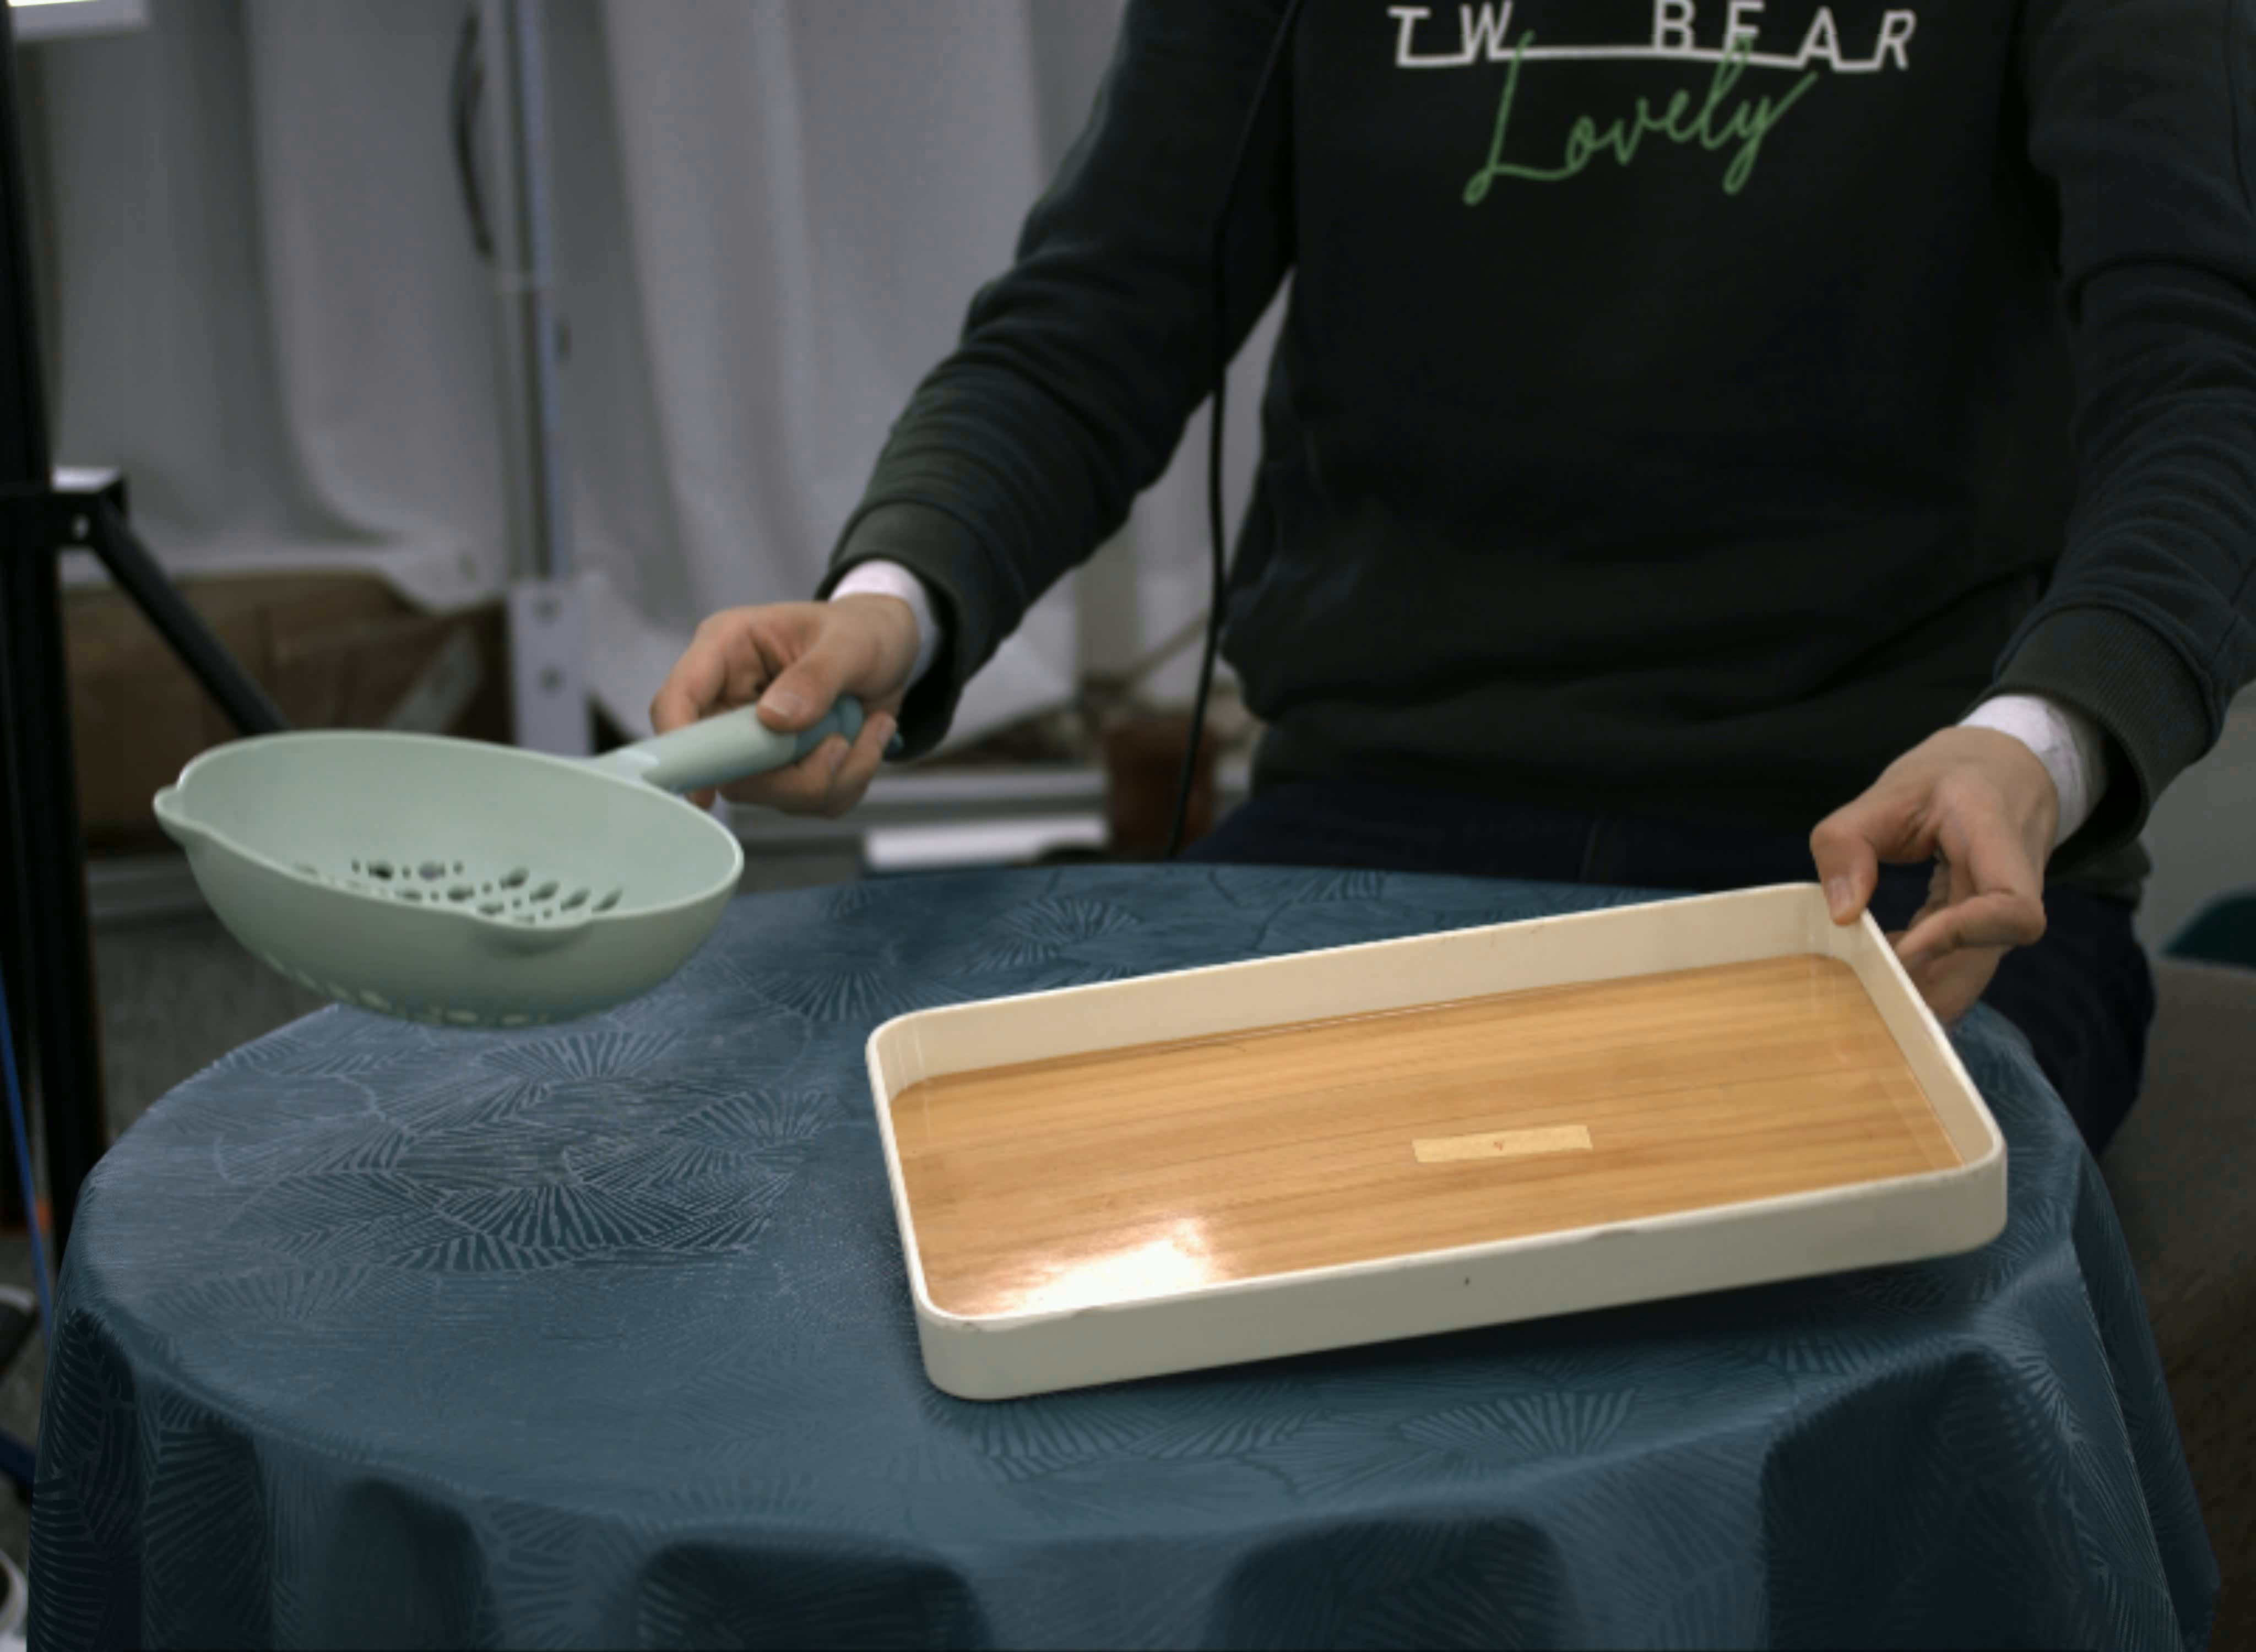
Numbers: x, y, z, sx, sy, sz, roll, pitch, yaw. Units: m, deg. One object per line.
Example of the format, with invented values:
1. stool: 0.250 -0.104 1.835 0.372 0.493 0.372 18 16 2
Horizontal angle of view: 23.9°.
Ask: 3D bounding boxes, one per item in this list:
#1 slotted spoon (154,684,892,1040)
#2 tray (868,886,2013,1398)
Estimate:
1. slotted spoon: -0.159 -0.006 1.672 0.172 0.075 0.354 16 25 21
2. tray: 0.082 0.086 1.490 0.298 0.027 0.194 -7 25 -3
